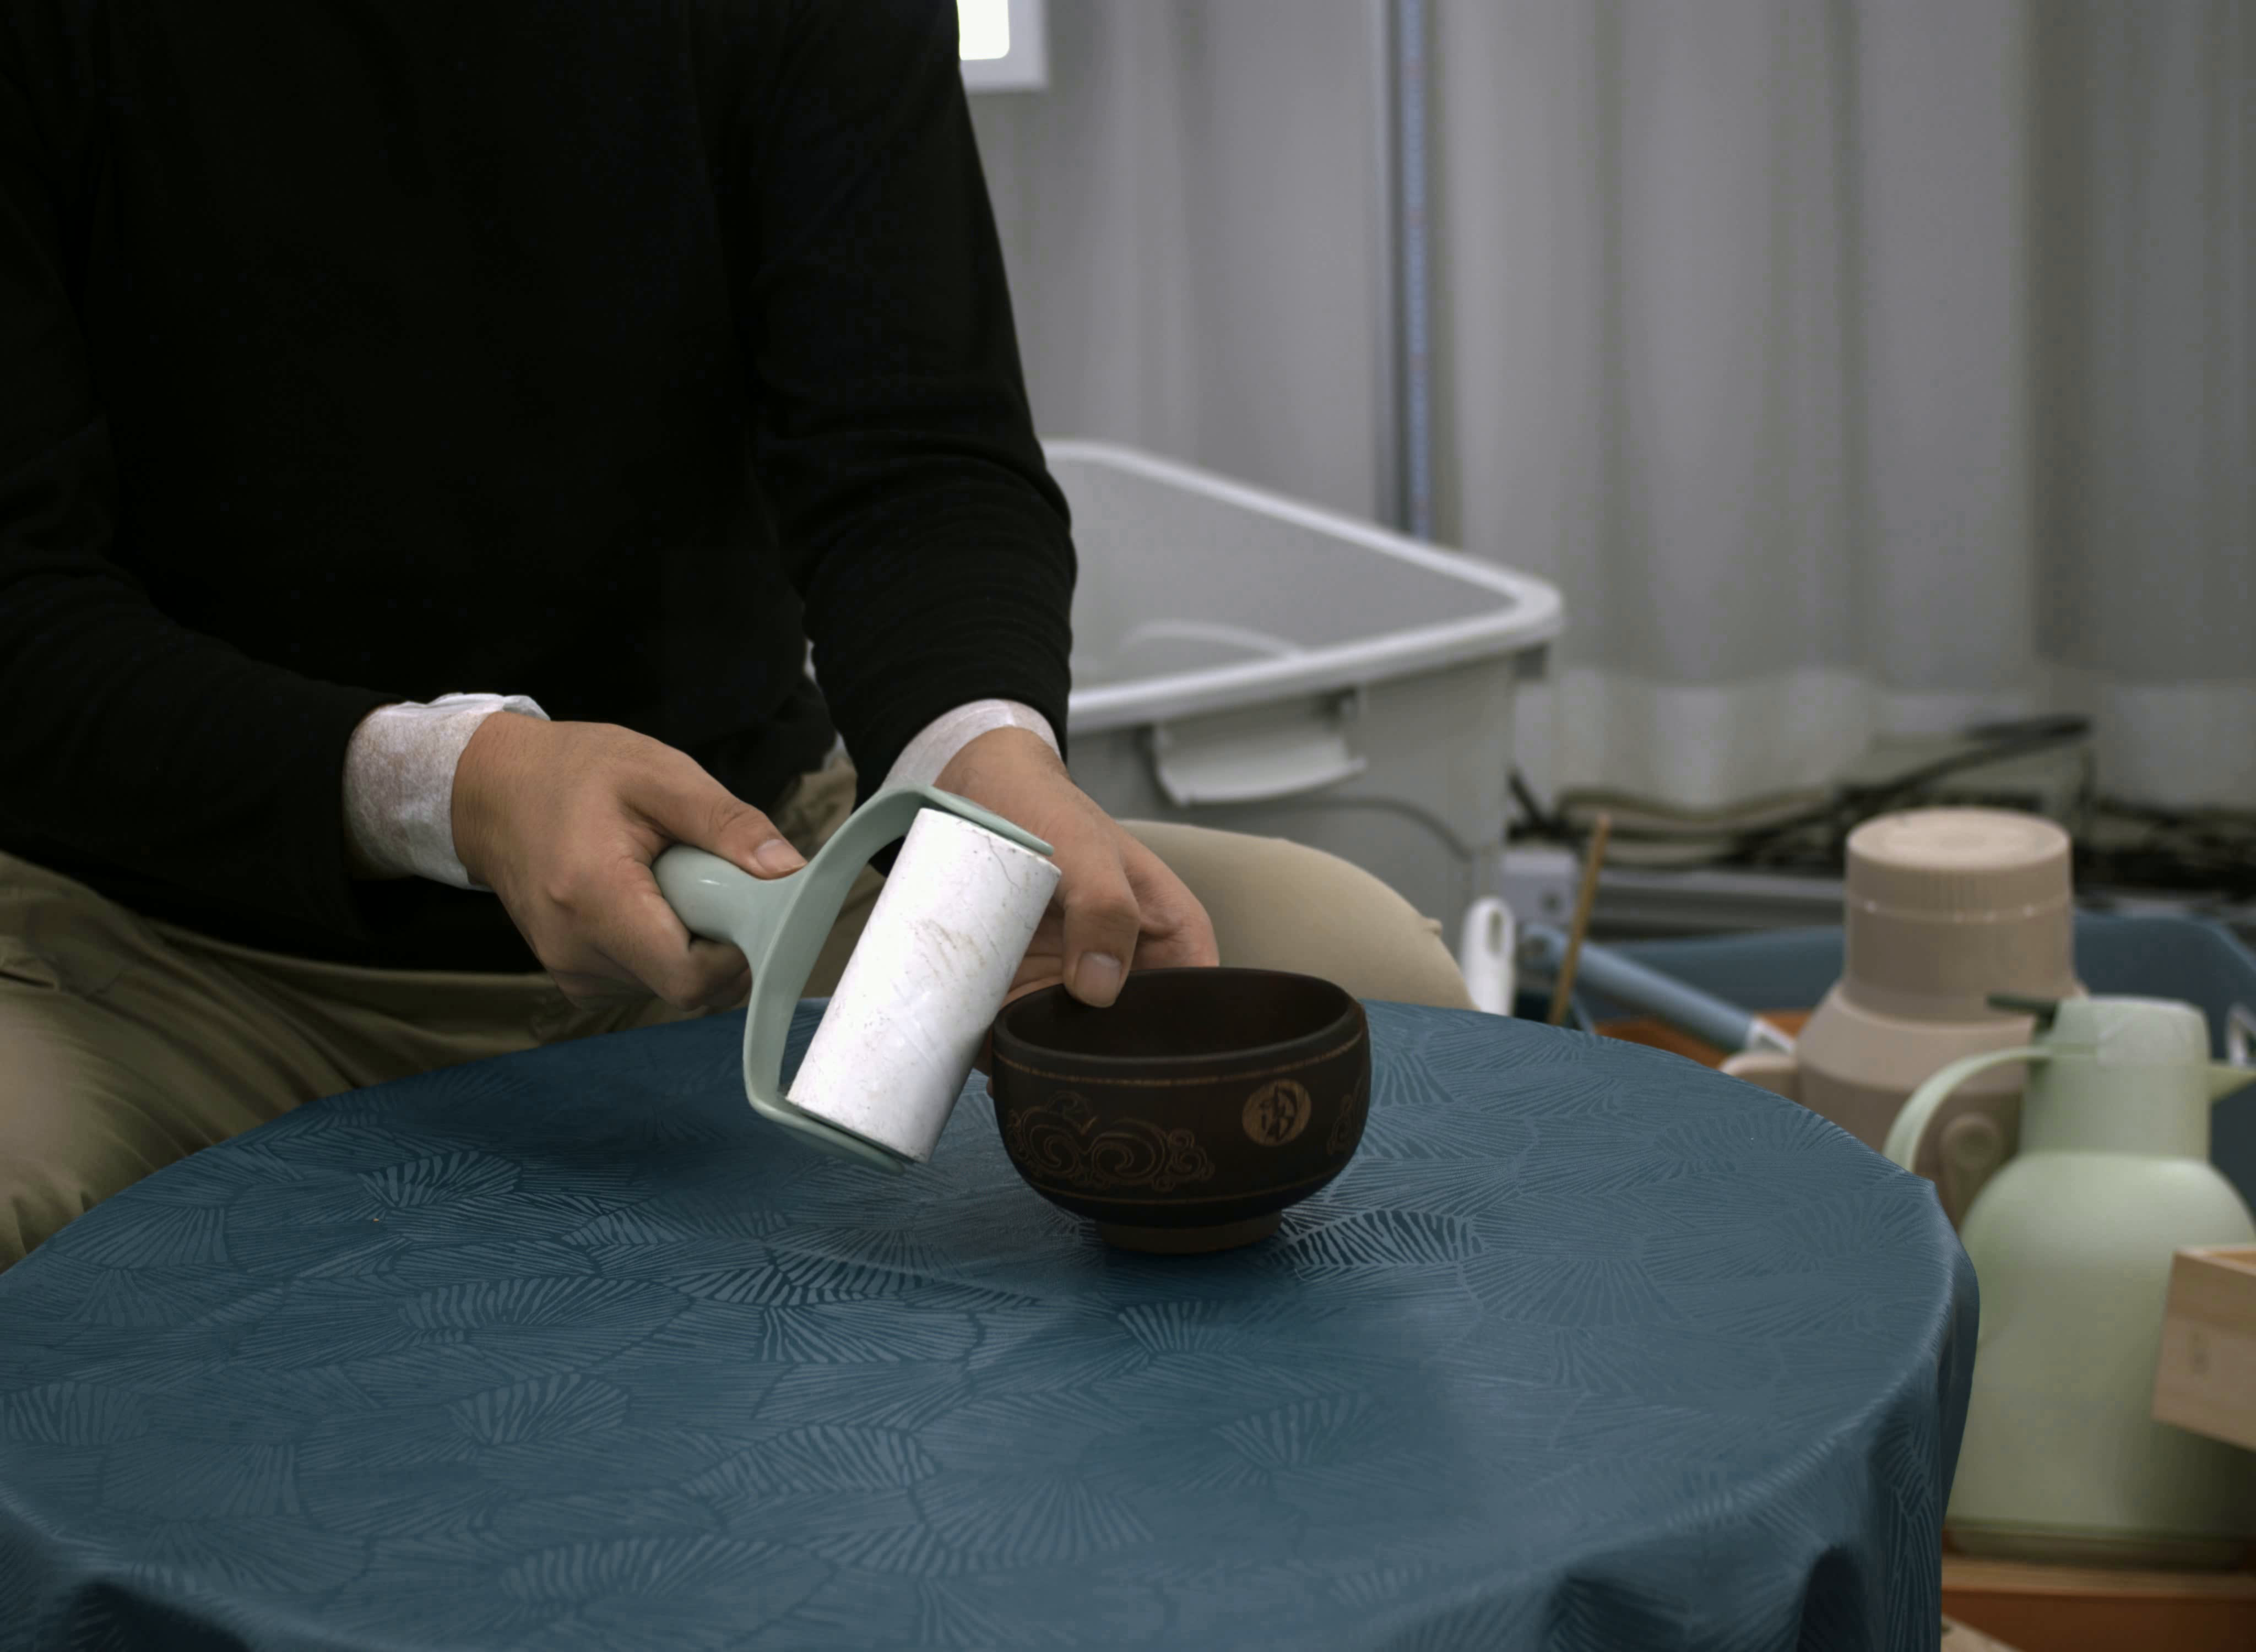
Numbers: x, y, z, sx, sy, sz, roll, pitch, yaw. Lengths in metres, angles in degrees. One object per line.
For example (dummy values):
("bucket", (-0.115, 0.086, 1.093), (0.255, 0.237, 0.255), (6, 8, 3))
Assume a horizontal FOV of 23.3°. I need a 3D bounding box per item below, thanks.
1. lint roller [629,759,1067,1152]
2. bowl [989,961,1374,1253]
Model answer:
("lint roller", (-0.105, 0.026, 1.720), (0.048, 0.117, 0.199), (30, -8, -41))
("bowl", (0.017, 0.089, 1.666), (0.117, 0.069, 0.119), (-4, 12, 1))
